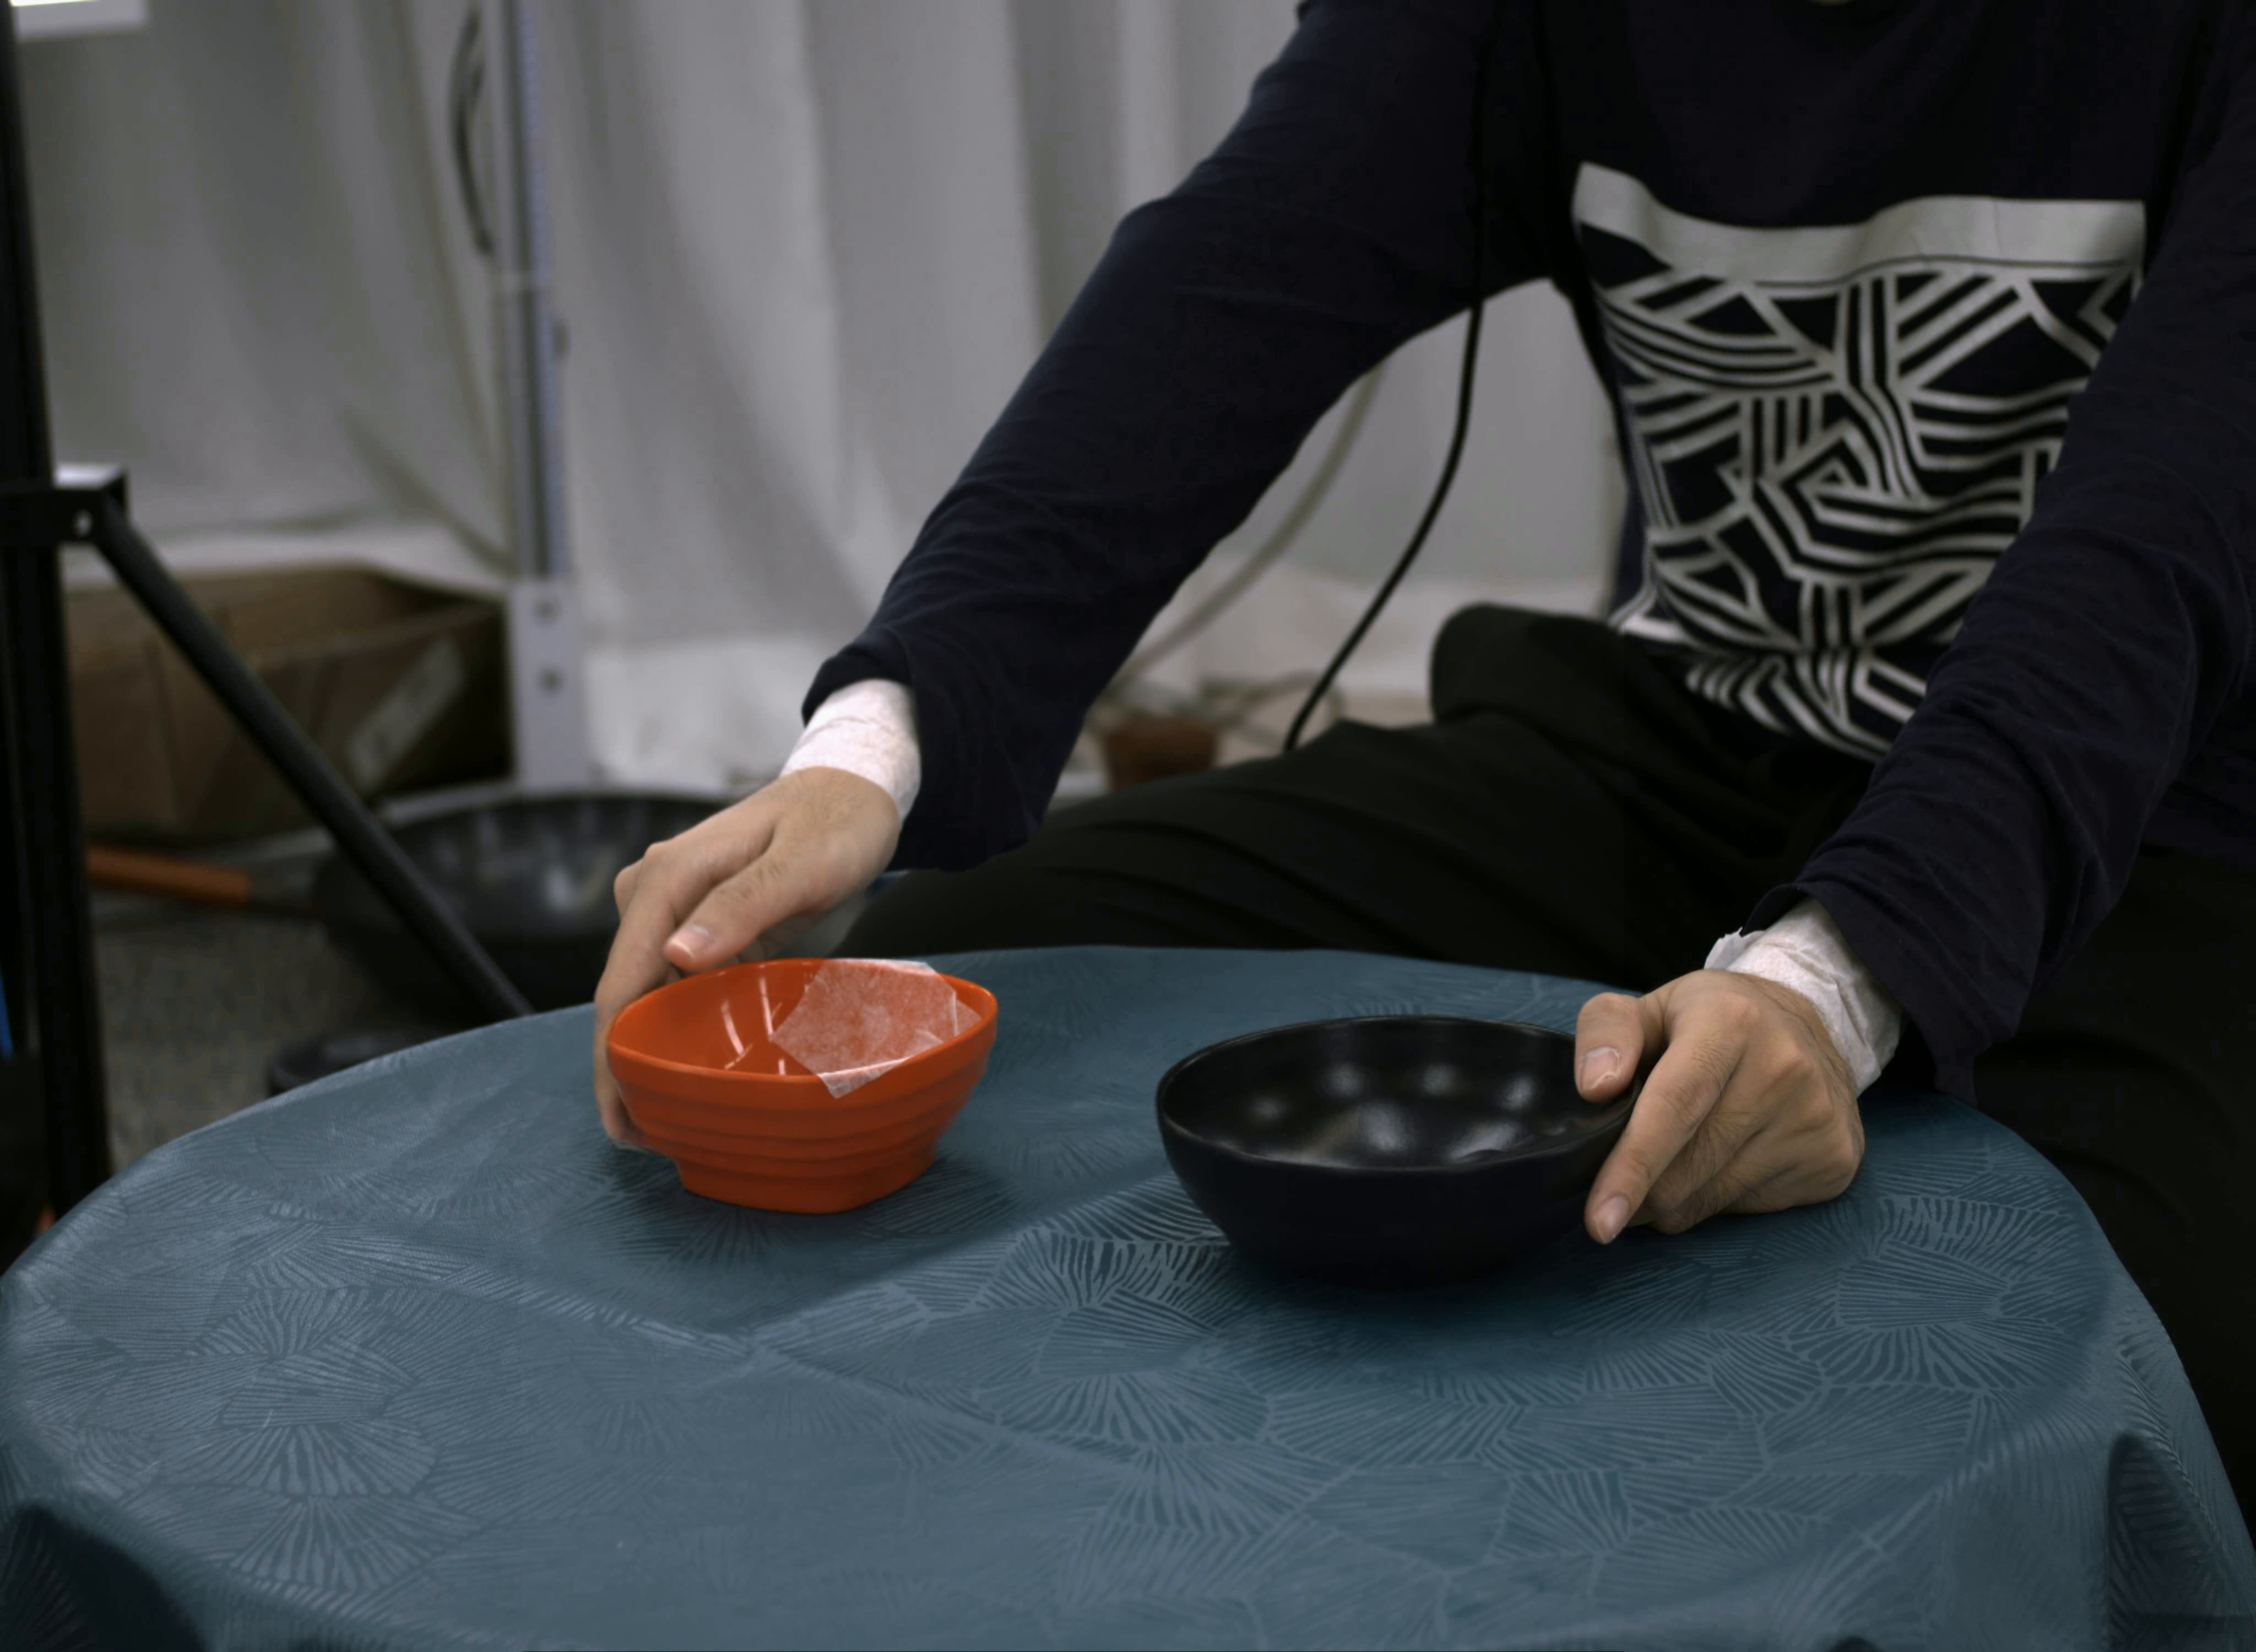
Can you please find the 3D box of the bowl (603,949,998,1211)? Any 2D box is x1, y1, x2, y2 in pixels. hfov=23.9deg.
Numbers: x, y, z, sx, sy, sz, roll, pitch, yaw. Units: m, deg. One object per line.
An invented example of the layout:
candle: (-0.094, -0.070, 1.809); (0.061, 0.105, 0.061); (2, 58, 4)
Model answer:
bowl: (-0.095, 0.078, 1.585); (0.118, 0.051, 0.119); (-4, 17, 0)

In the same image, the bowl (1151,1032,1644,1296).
bowl: (0.076, 0.100, 1.499); (0.139, 0.050, 0.140); (-1, 12, -1)
